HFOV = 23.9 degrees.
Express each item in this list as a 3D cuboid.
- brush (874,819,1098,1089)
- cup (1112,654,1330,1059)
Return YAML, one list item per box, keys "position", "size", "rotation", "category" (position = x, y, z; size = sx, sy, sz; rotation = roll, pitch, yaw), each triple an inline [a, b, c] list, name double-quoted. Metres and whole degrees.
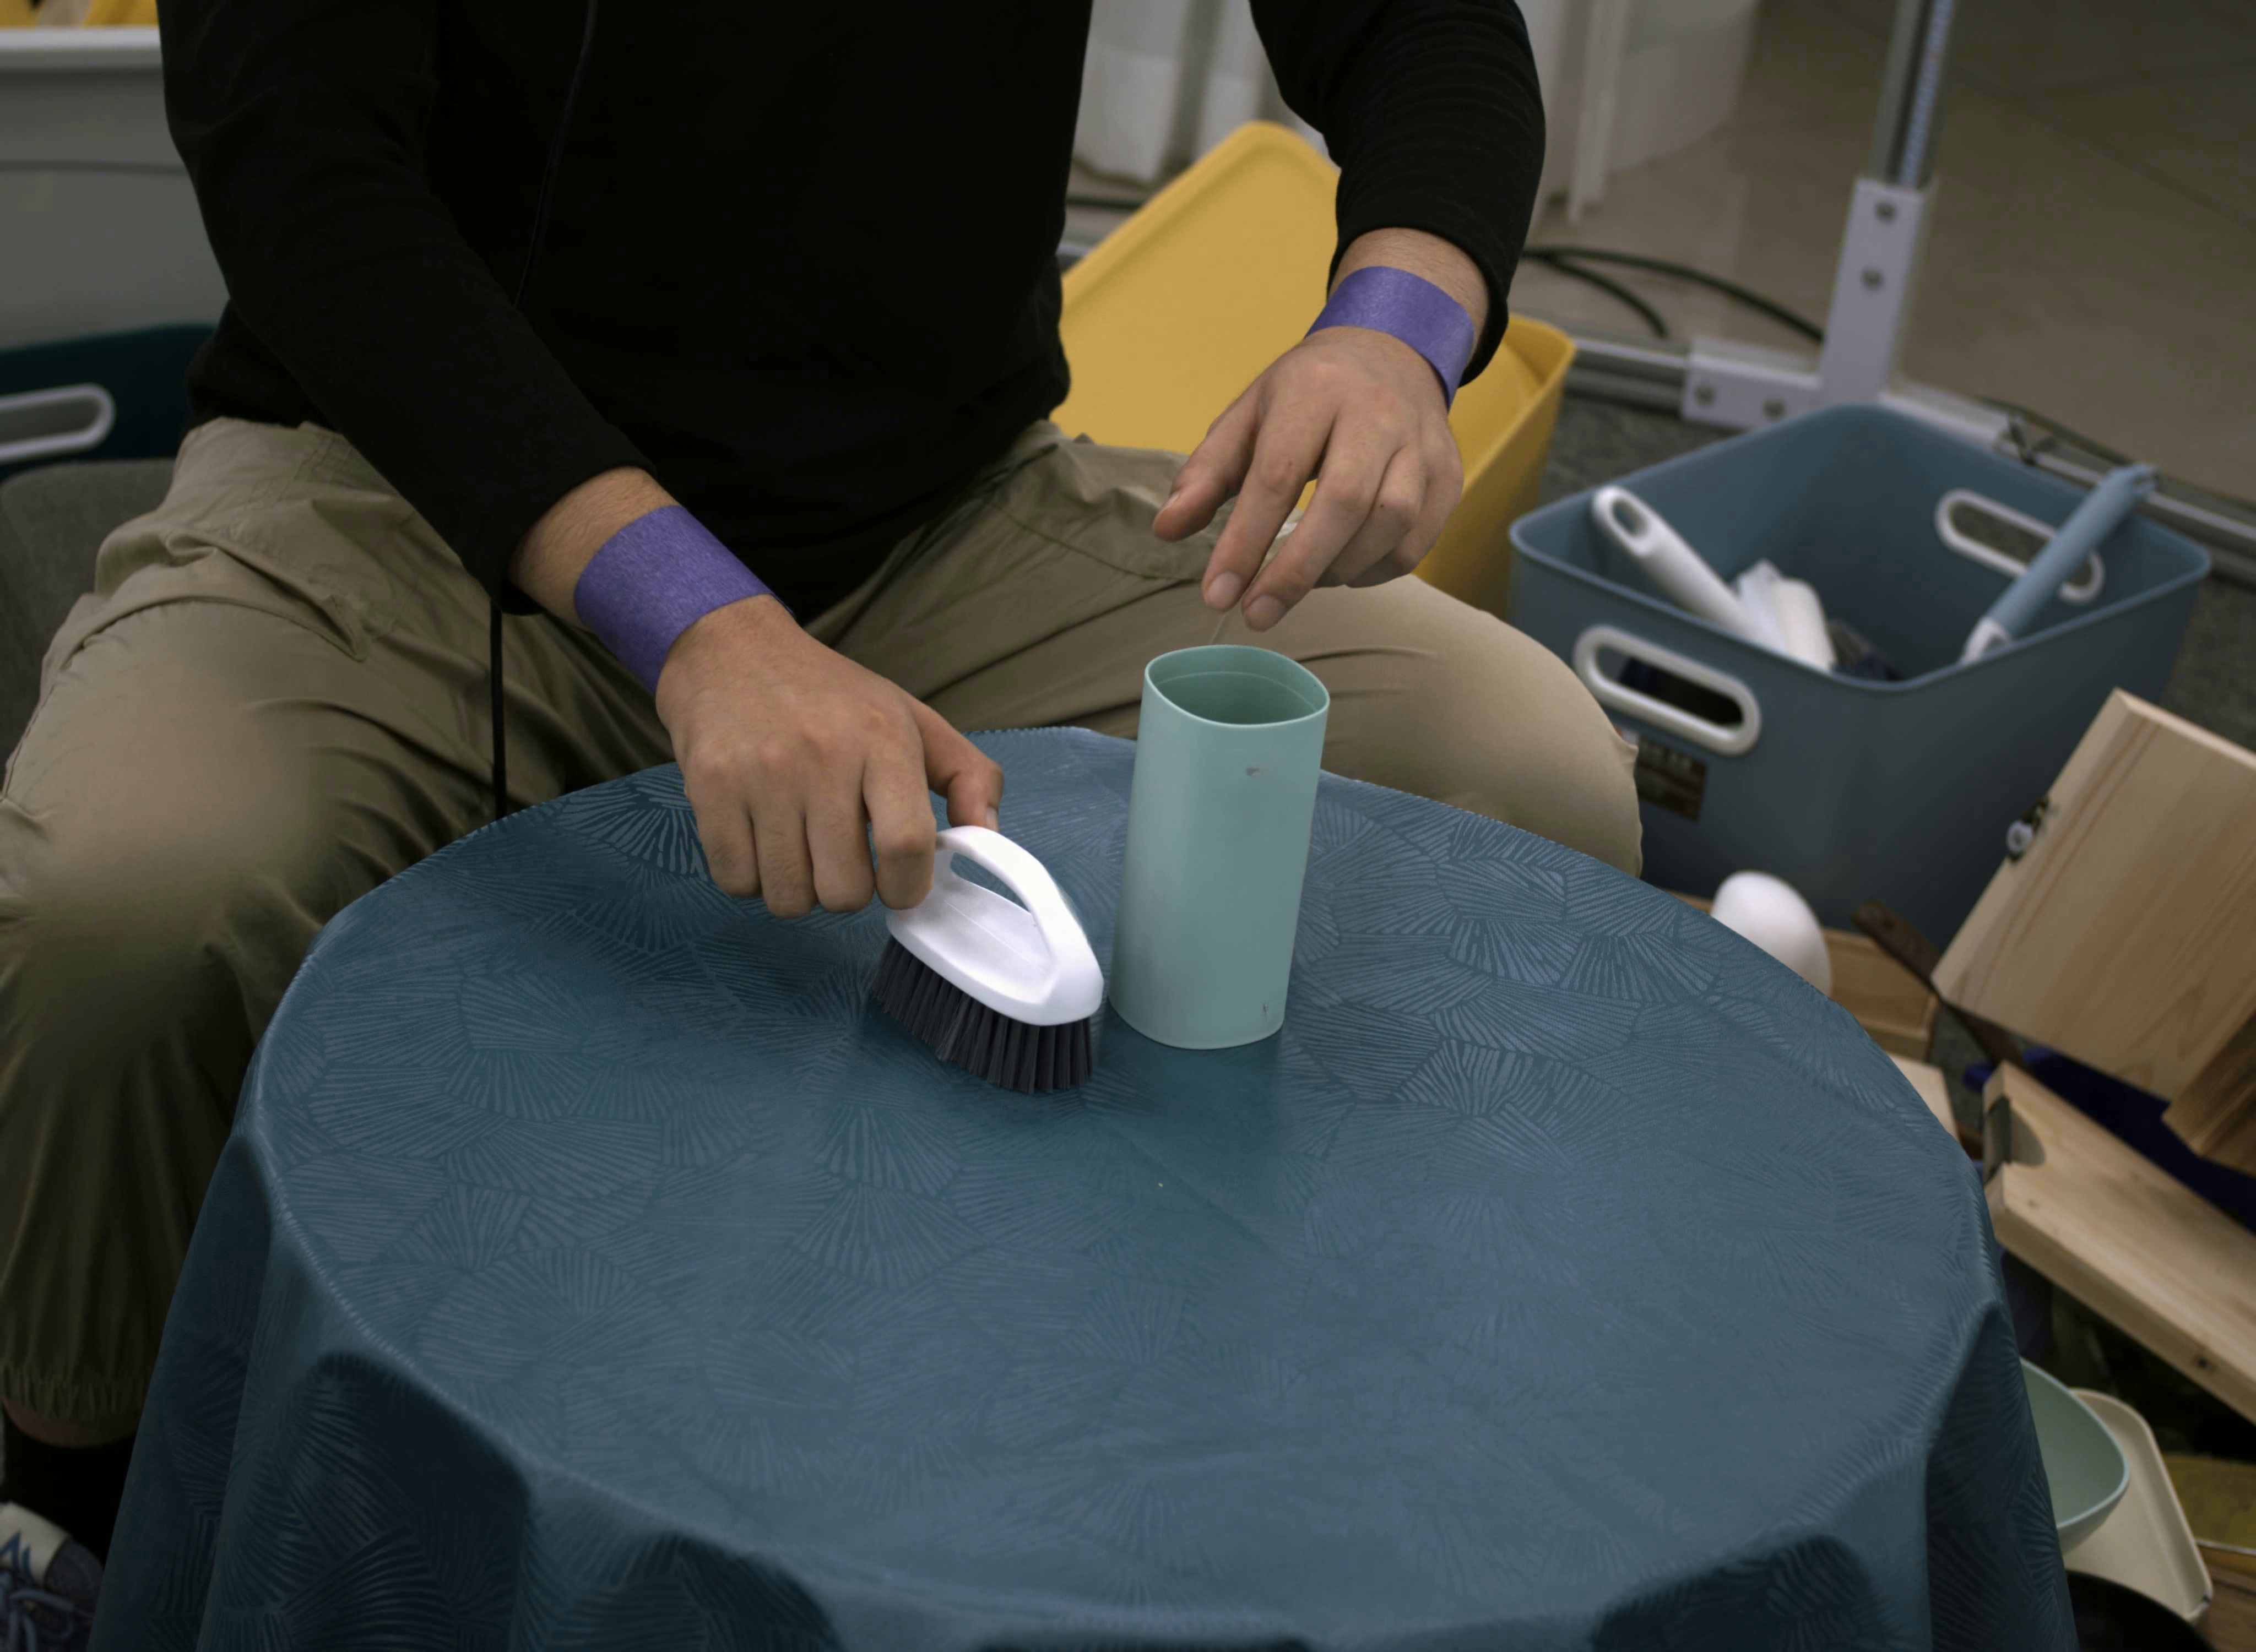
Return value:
- position: [-0.049, 0.038, 1.873]
  size: [0.050, 0.072, 0.100]
  rotation: [-12, 34, -36]
  category: "brush"
- position: [0.031, 0.011, 1.893]
  size: [0.066, 0.132, 0.067]
  rotation: [5, 27, -3]
  category: "cup"
